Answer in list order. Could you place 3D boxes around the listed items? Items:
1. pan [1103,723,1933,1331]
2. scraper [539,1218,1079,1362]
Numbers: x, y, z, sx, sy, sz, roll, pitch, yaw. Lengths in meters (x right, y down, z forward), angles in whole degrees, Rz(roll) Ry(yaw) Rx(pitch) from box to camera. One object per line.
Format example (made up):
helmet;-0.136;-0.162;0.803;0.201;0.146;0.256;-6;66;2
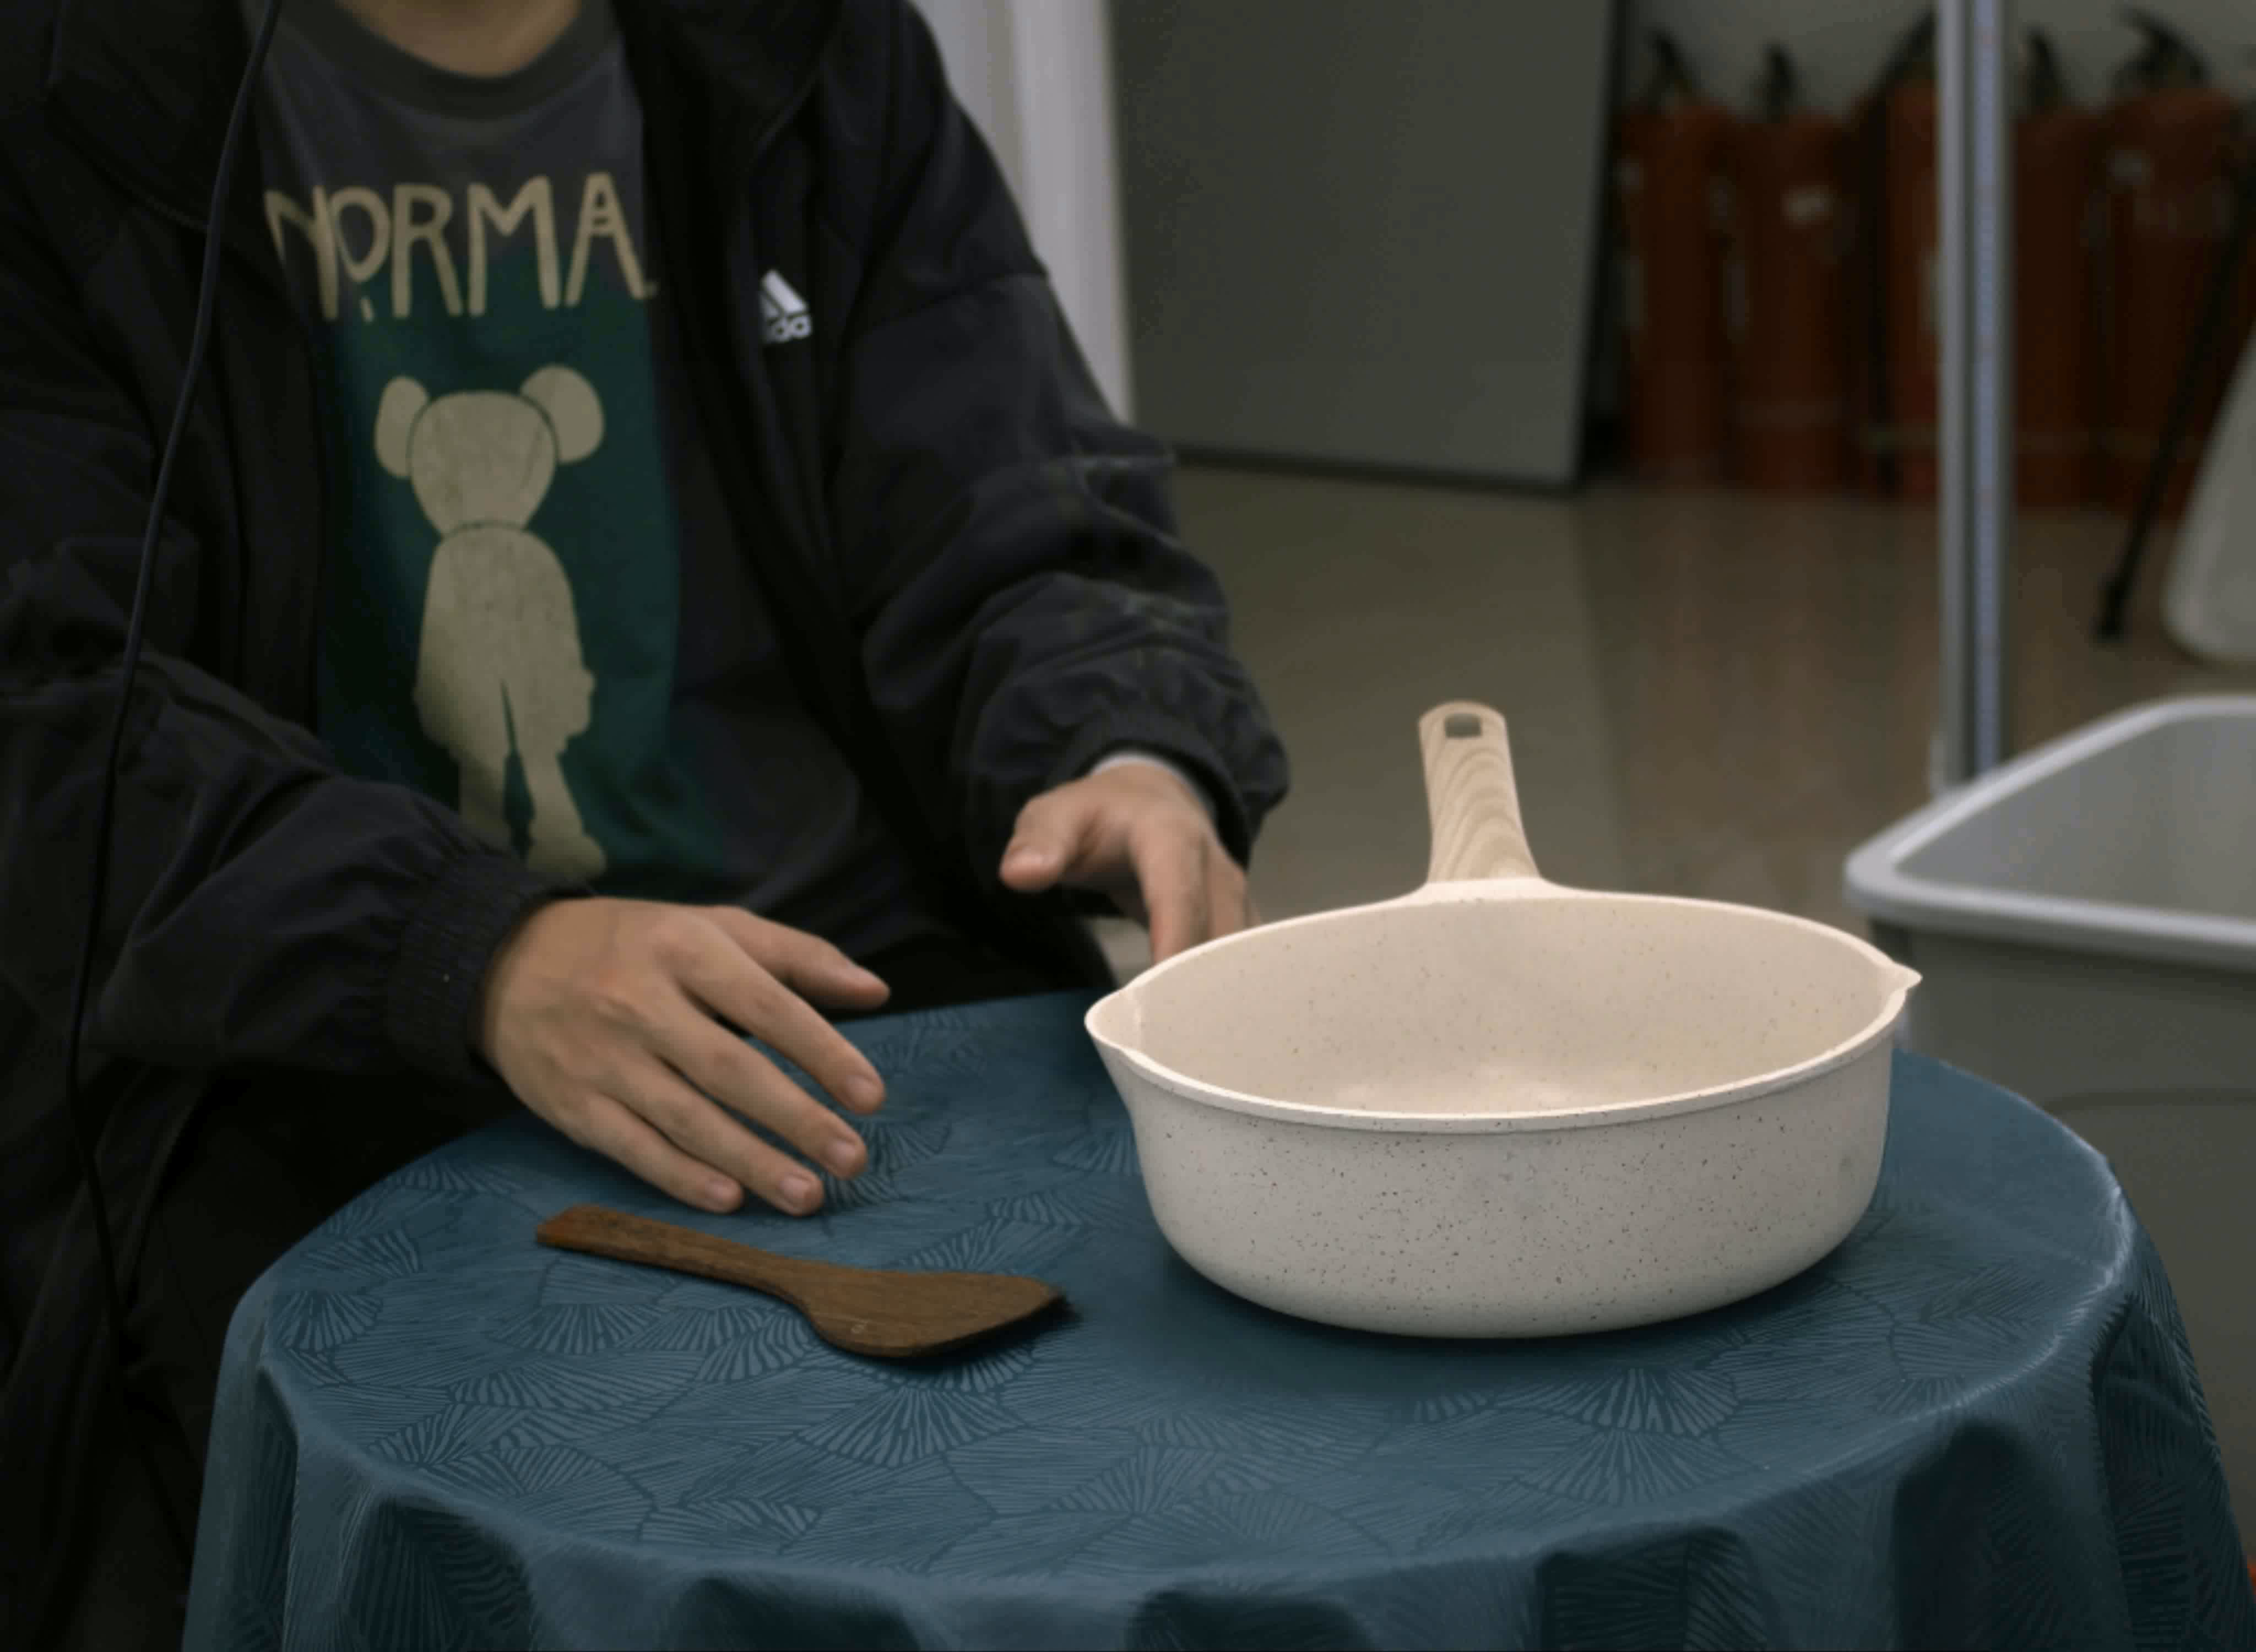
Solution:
pan;0.125;0.061;1.774;0.260;0.103;0.435;-5;13;2
scraper;-0.109;0.143;1.702;0.213;0.011;0.074;8;17;43
